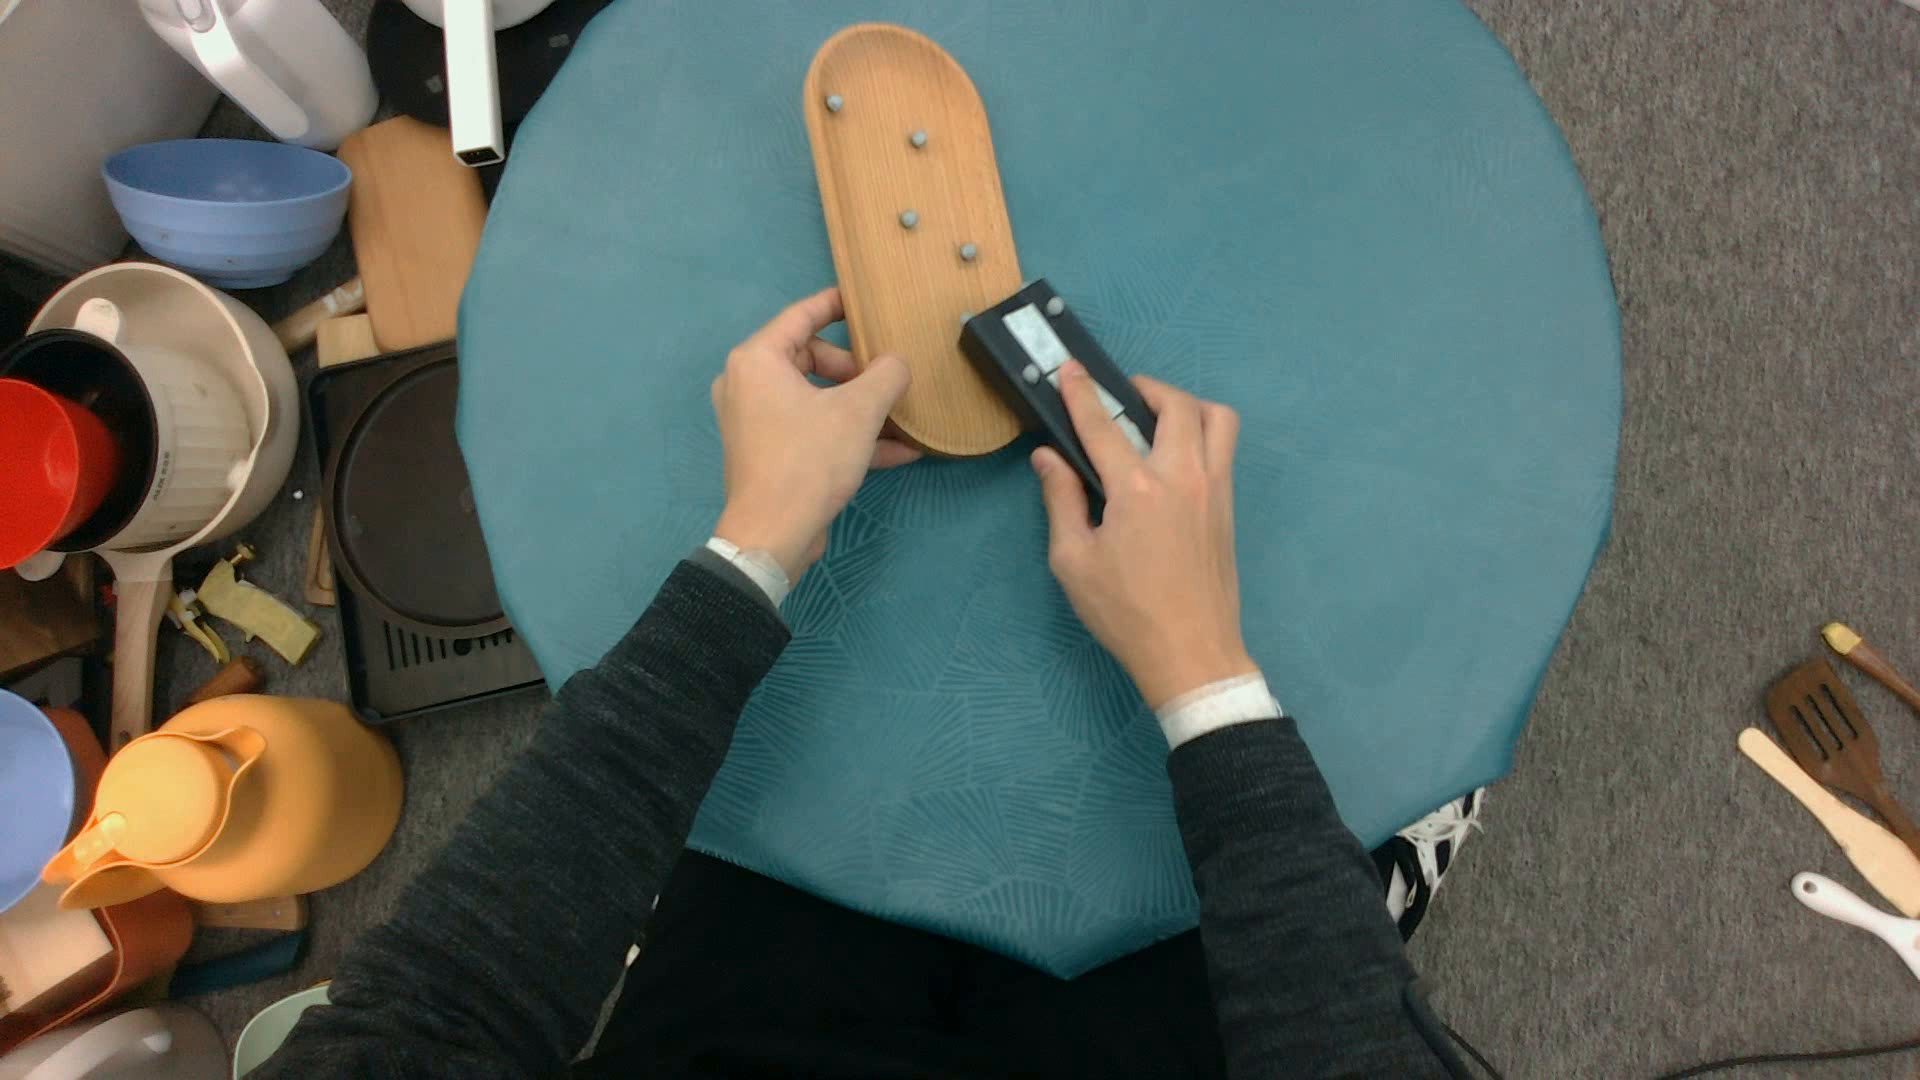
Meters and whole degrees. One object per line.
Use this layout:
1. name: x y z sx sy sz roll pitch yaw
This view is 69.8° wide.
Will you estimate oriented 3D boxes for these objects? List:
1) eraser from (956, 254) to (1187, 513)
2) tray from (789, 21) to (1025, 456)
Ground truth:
1. eraser: 0.053 -0.077 0.674 0.053 0.030 0.125 -32 77 -13
2. tray: -0.025 -0.153 0.691 0.102 0.020 0.231 -8 81 -29
